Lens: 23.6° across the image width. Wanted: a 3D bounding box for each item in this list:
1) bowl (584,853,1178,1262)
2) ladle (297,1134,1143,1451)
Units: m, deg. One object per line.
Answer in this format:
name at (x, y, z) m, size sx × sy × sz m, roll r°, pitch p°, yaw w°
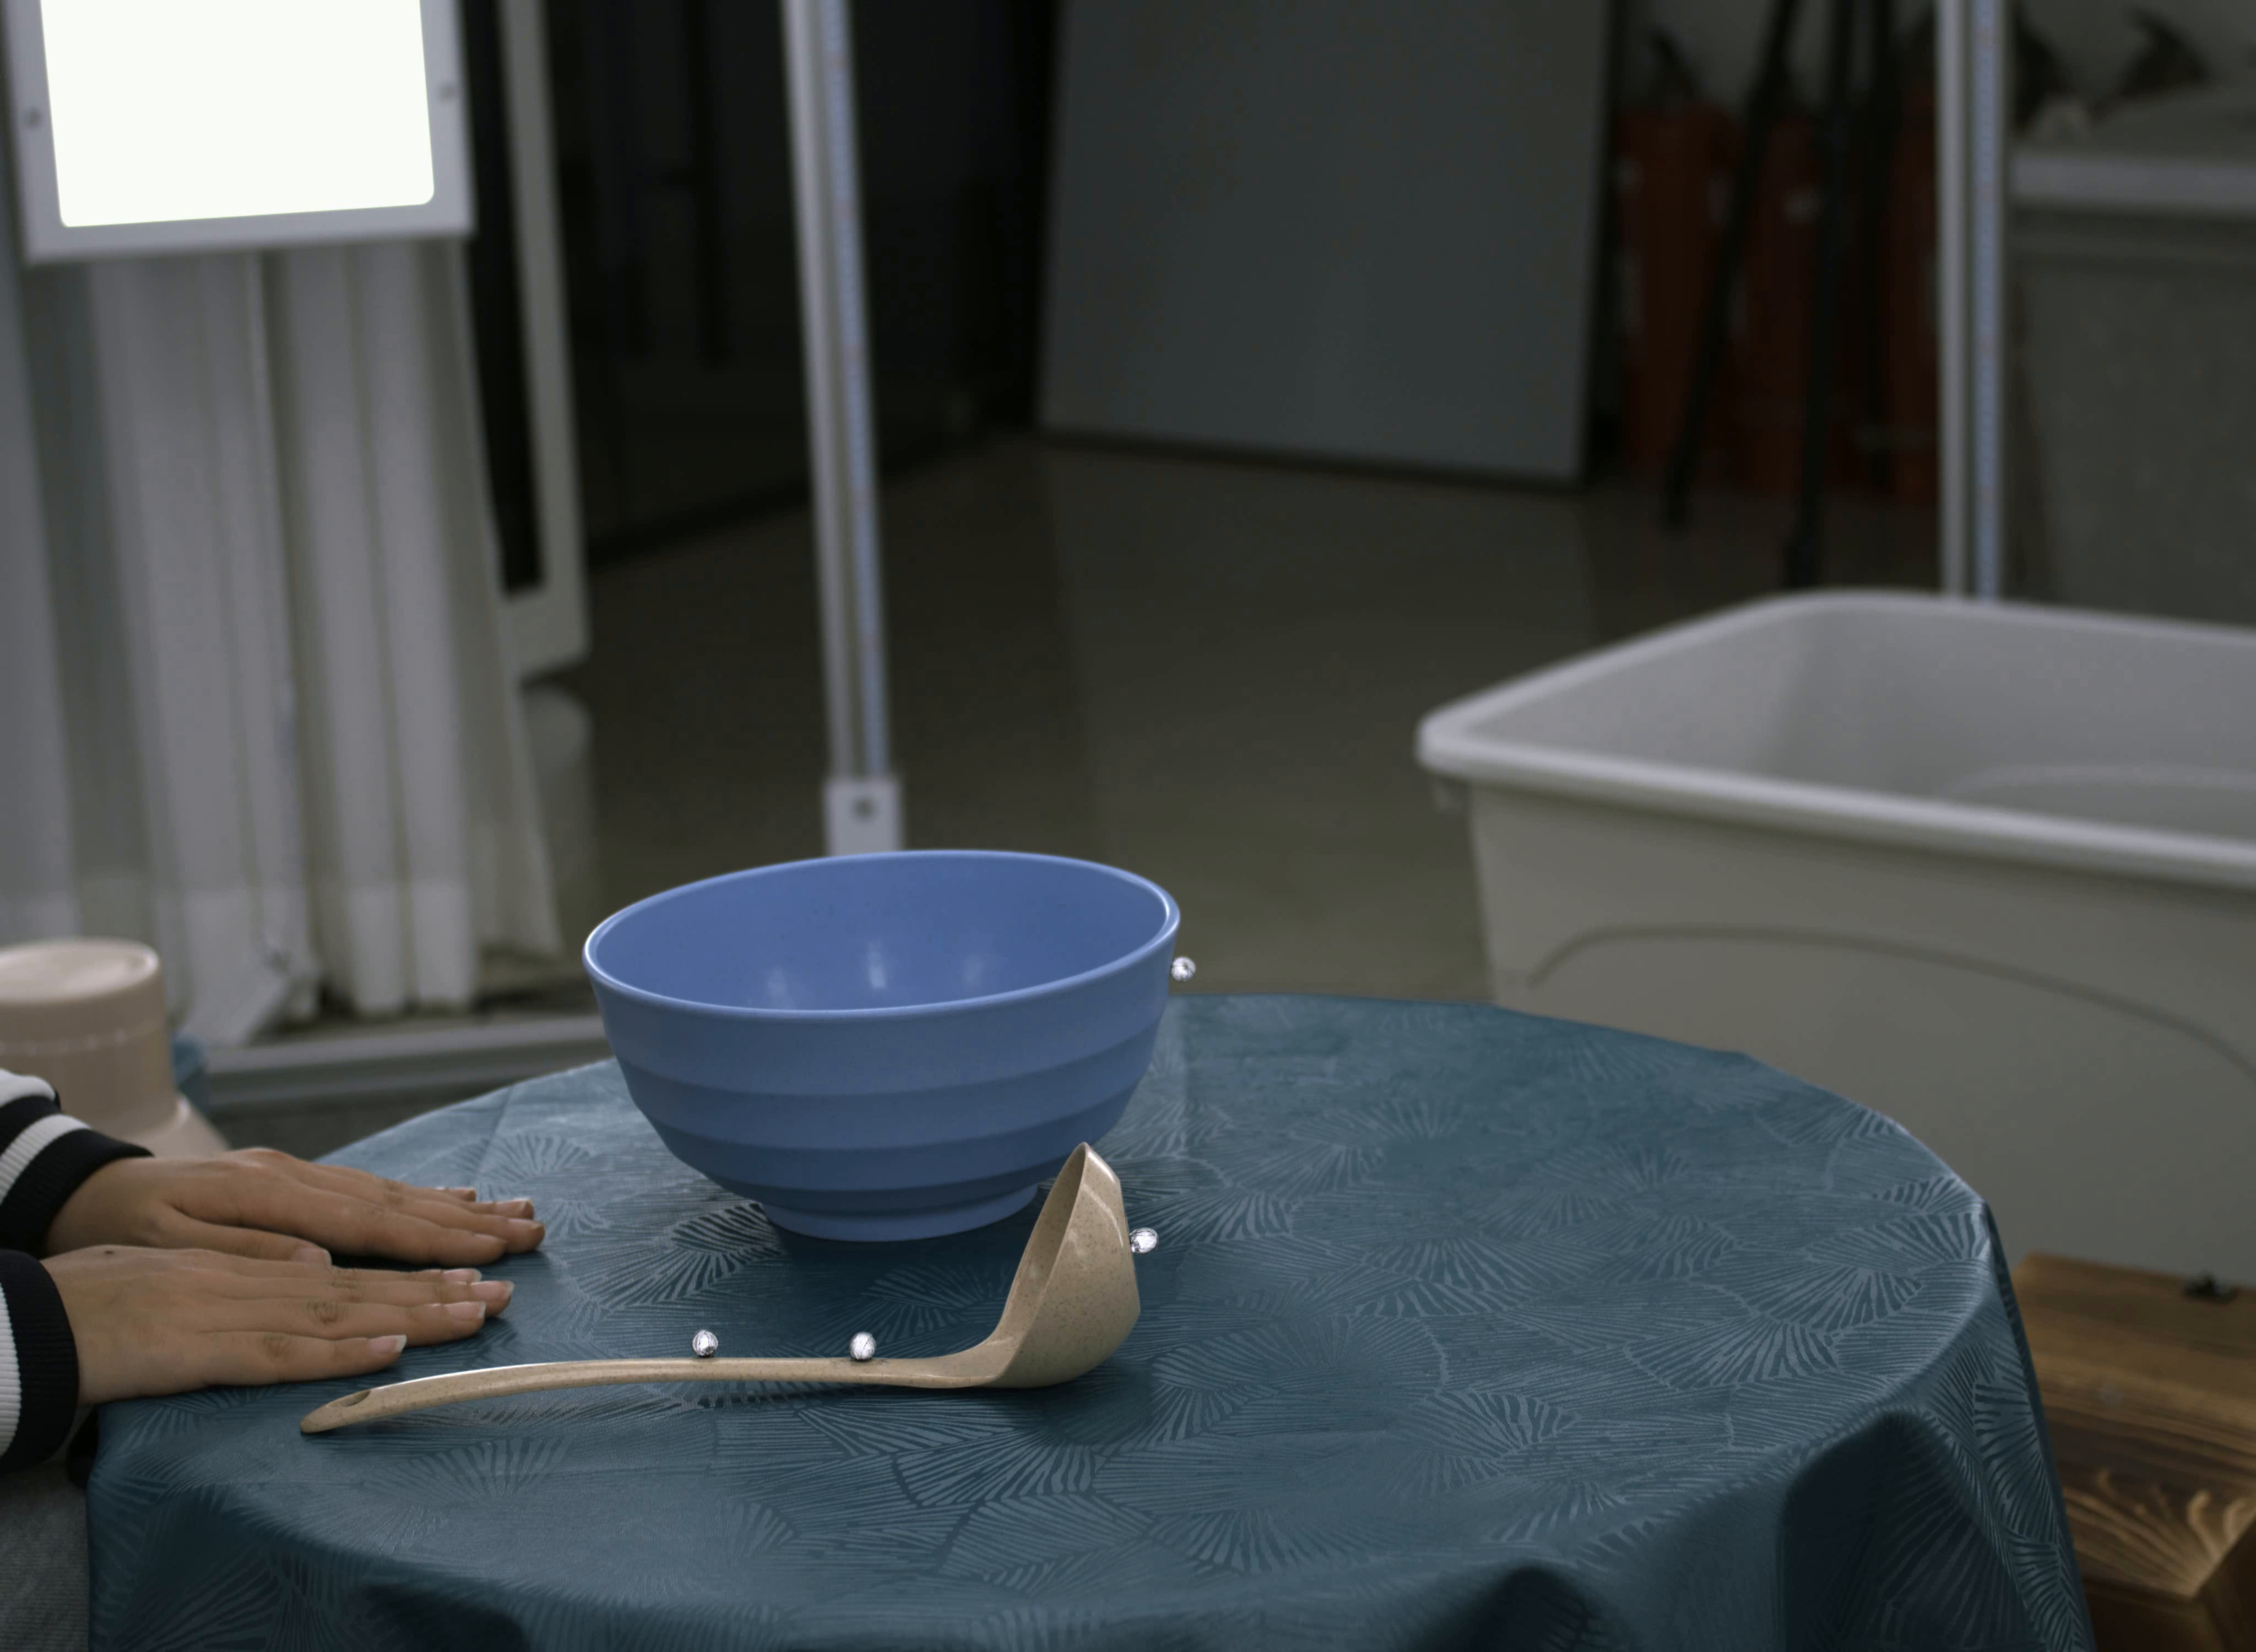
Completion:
bowl at (-0.077, 0.082, 1.769) m, size 0.194 × 0.096 × 0.197 m, roll -5°, pitch 15°, yaw 0°
ladle at (-0.121, 0.137, 1.590) m, size 0.251 × 0.073 × 0.072 m, roll -5°, pitch 13°, yaw -1°
